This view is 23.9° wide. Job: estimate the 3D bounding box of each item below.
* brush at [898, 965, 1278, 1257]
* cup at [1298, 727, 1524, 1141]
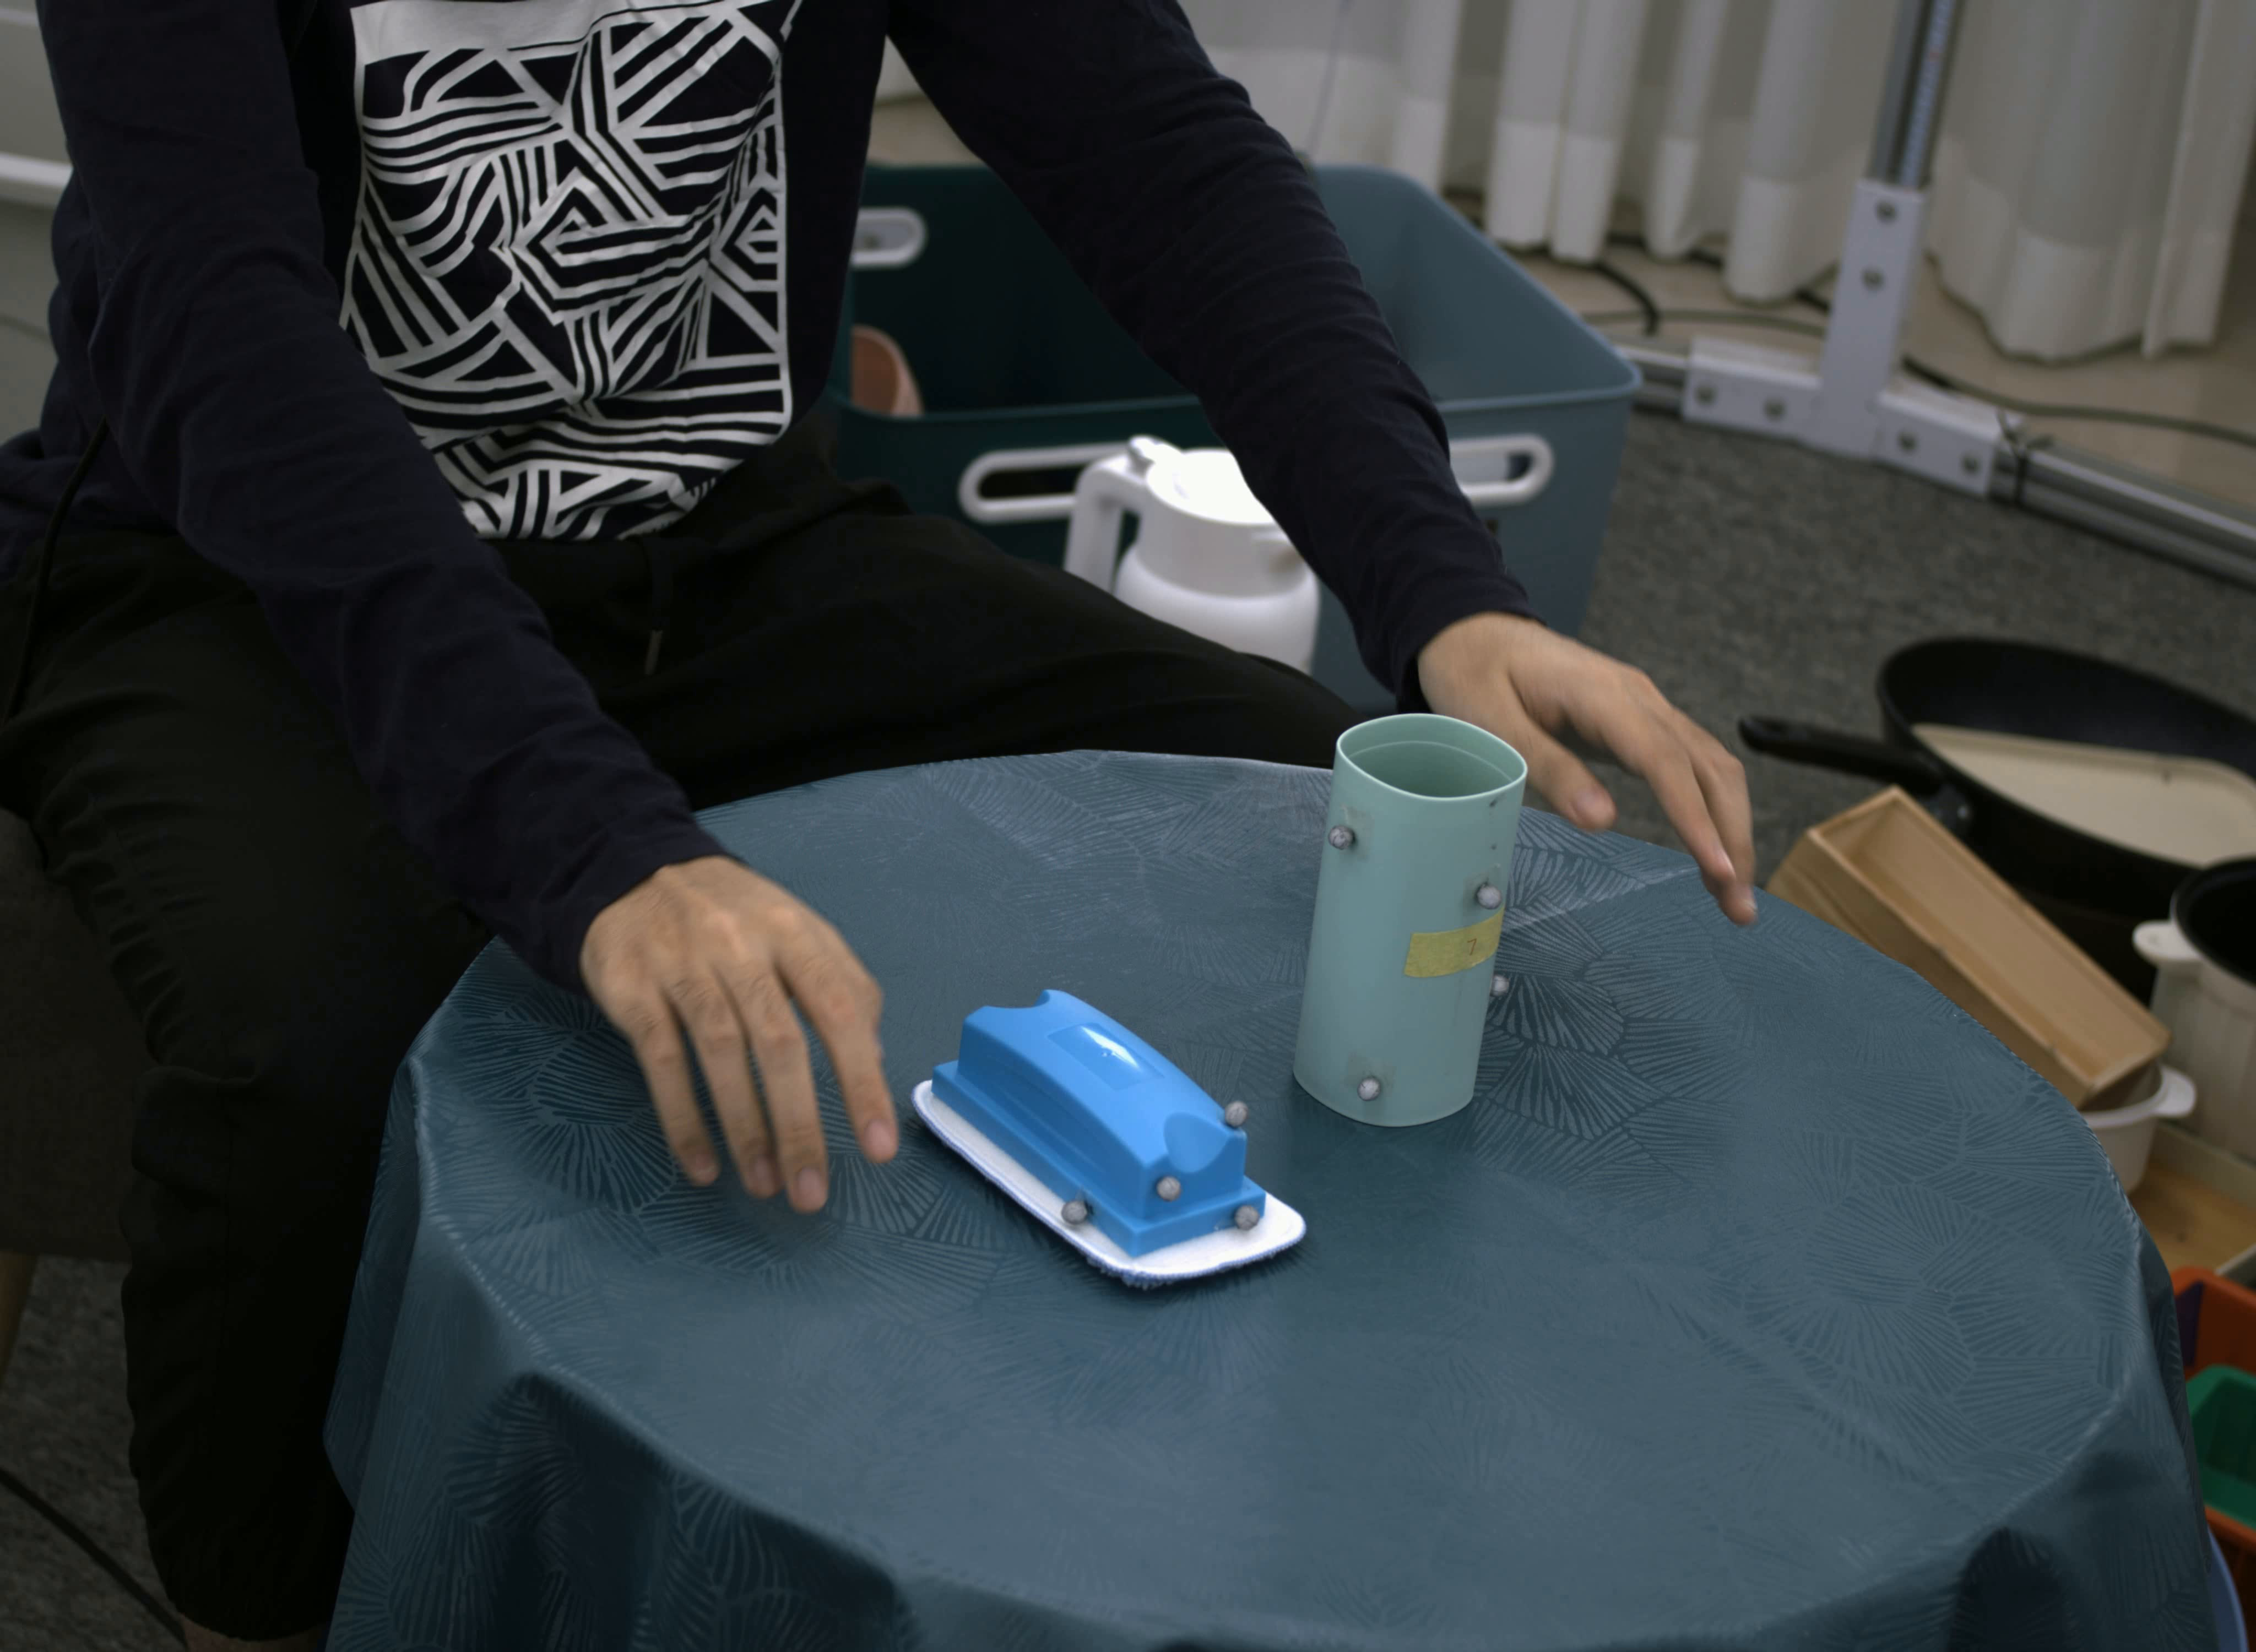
[{"bbox_3d":[-0.011,0.092,1.799,0.083,0.056,0.145,-9,33,-33],"label":"brush"},{"bbox_3d":[0.097,0.037,1.865,0.066,0.132,0.067,4,26,-3],"label":"cup"}]
